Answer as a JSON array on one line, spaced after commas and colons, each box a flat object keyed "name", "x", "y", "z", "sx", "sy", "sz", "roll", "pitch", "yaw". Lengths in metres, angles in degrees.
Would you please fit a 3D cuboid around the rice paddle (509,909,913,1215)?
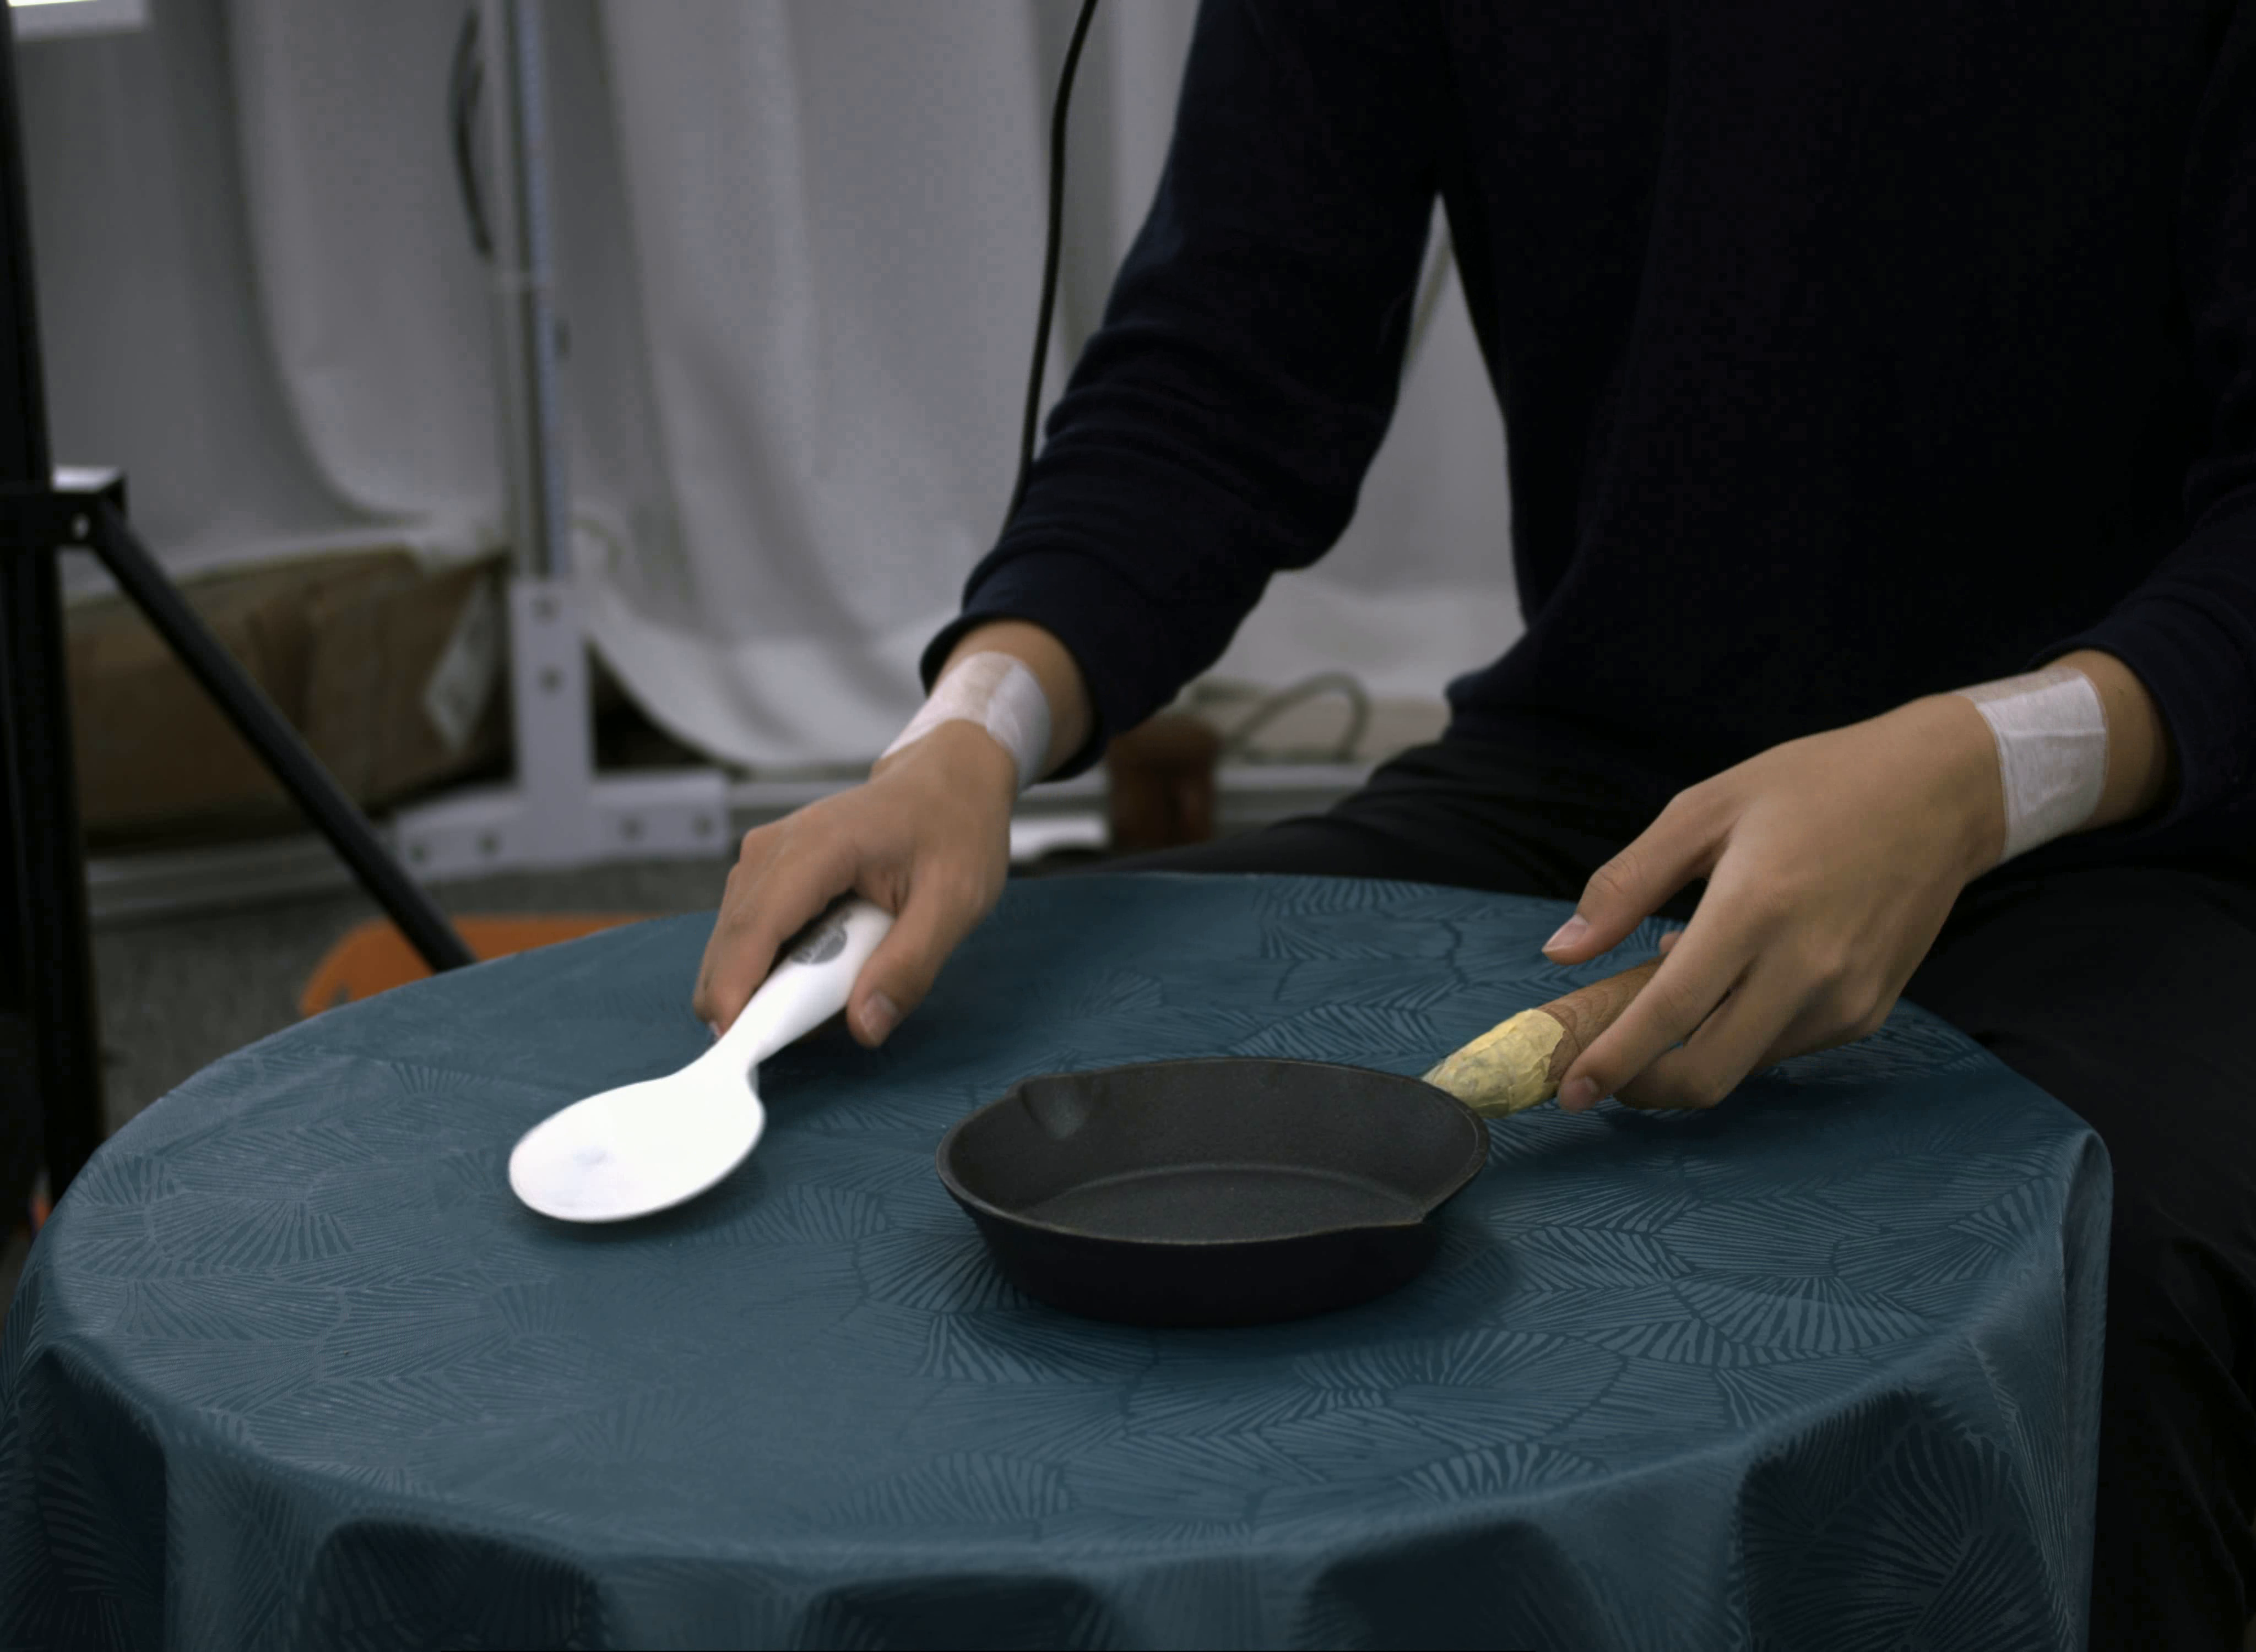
[{"name": "rice paddle", "x": -0.122, "y": 0.074, "z": 1.626, "sx": 0.070, "sy": 0.029, "sz": 0.202, "roll": 6, "pitch": 22, "yaw": 24}]

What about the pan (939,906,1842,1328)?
[{"name": "pan", "x": 0.092, "y": 0.081, "z": 1.545, "sx": 0.317, "sy": 0.049, "sz": 0.173, "roll": -15, "pitch": 20, "yaw": -33}]
